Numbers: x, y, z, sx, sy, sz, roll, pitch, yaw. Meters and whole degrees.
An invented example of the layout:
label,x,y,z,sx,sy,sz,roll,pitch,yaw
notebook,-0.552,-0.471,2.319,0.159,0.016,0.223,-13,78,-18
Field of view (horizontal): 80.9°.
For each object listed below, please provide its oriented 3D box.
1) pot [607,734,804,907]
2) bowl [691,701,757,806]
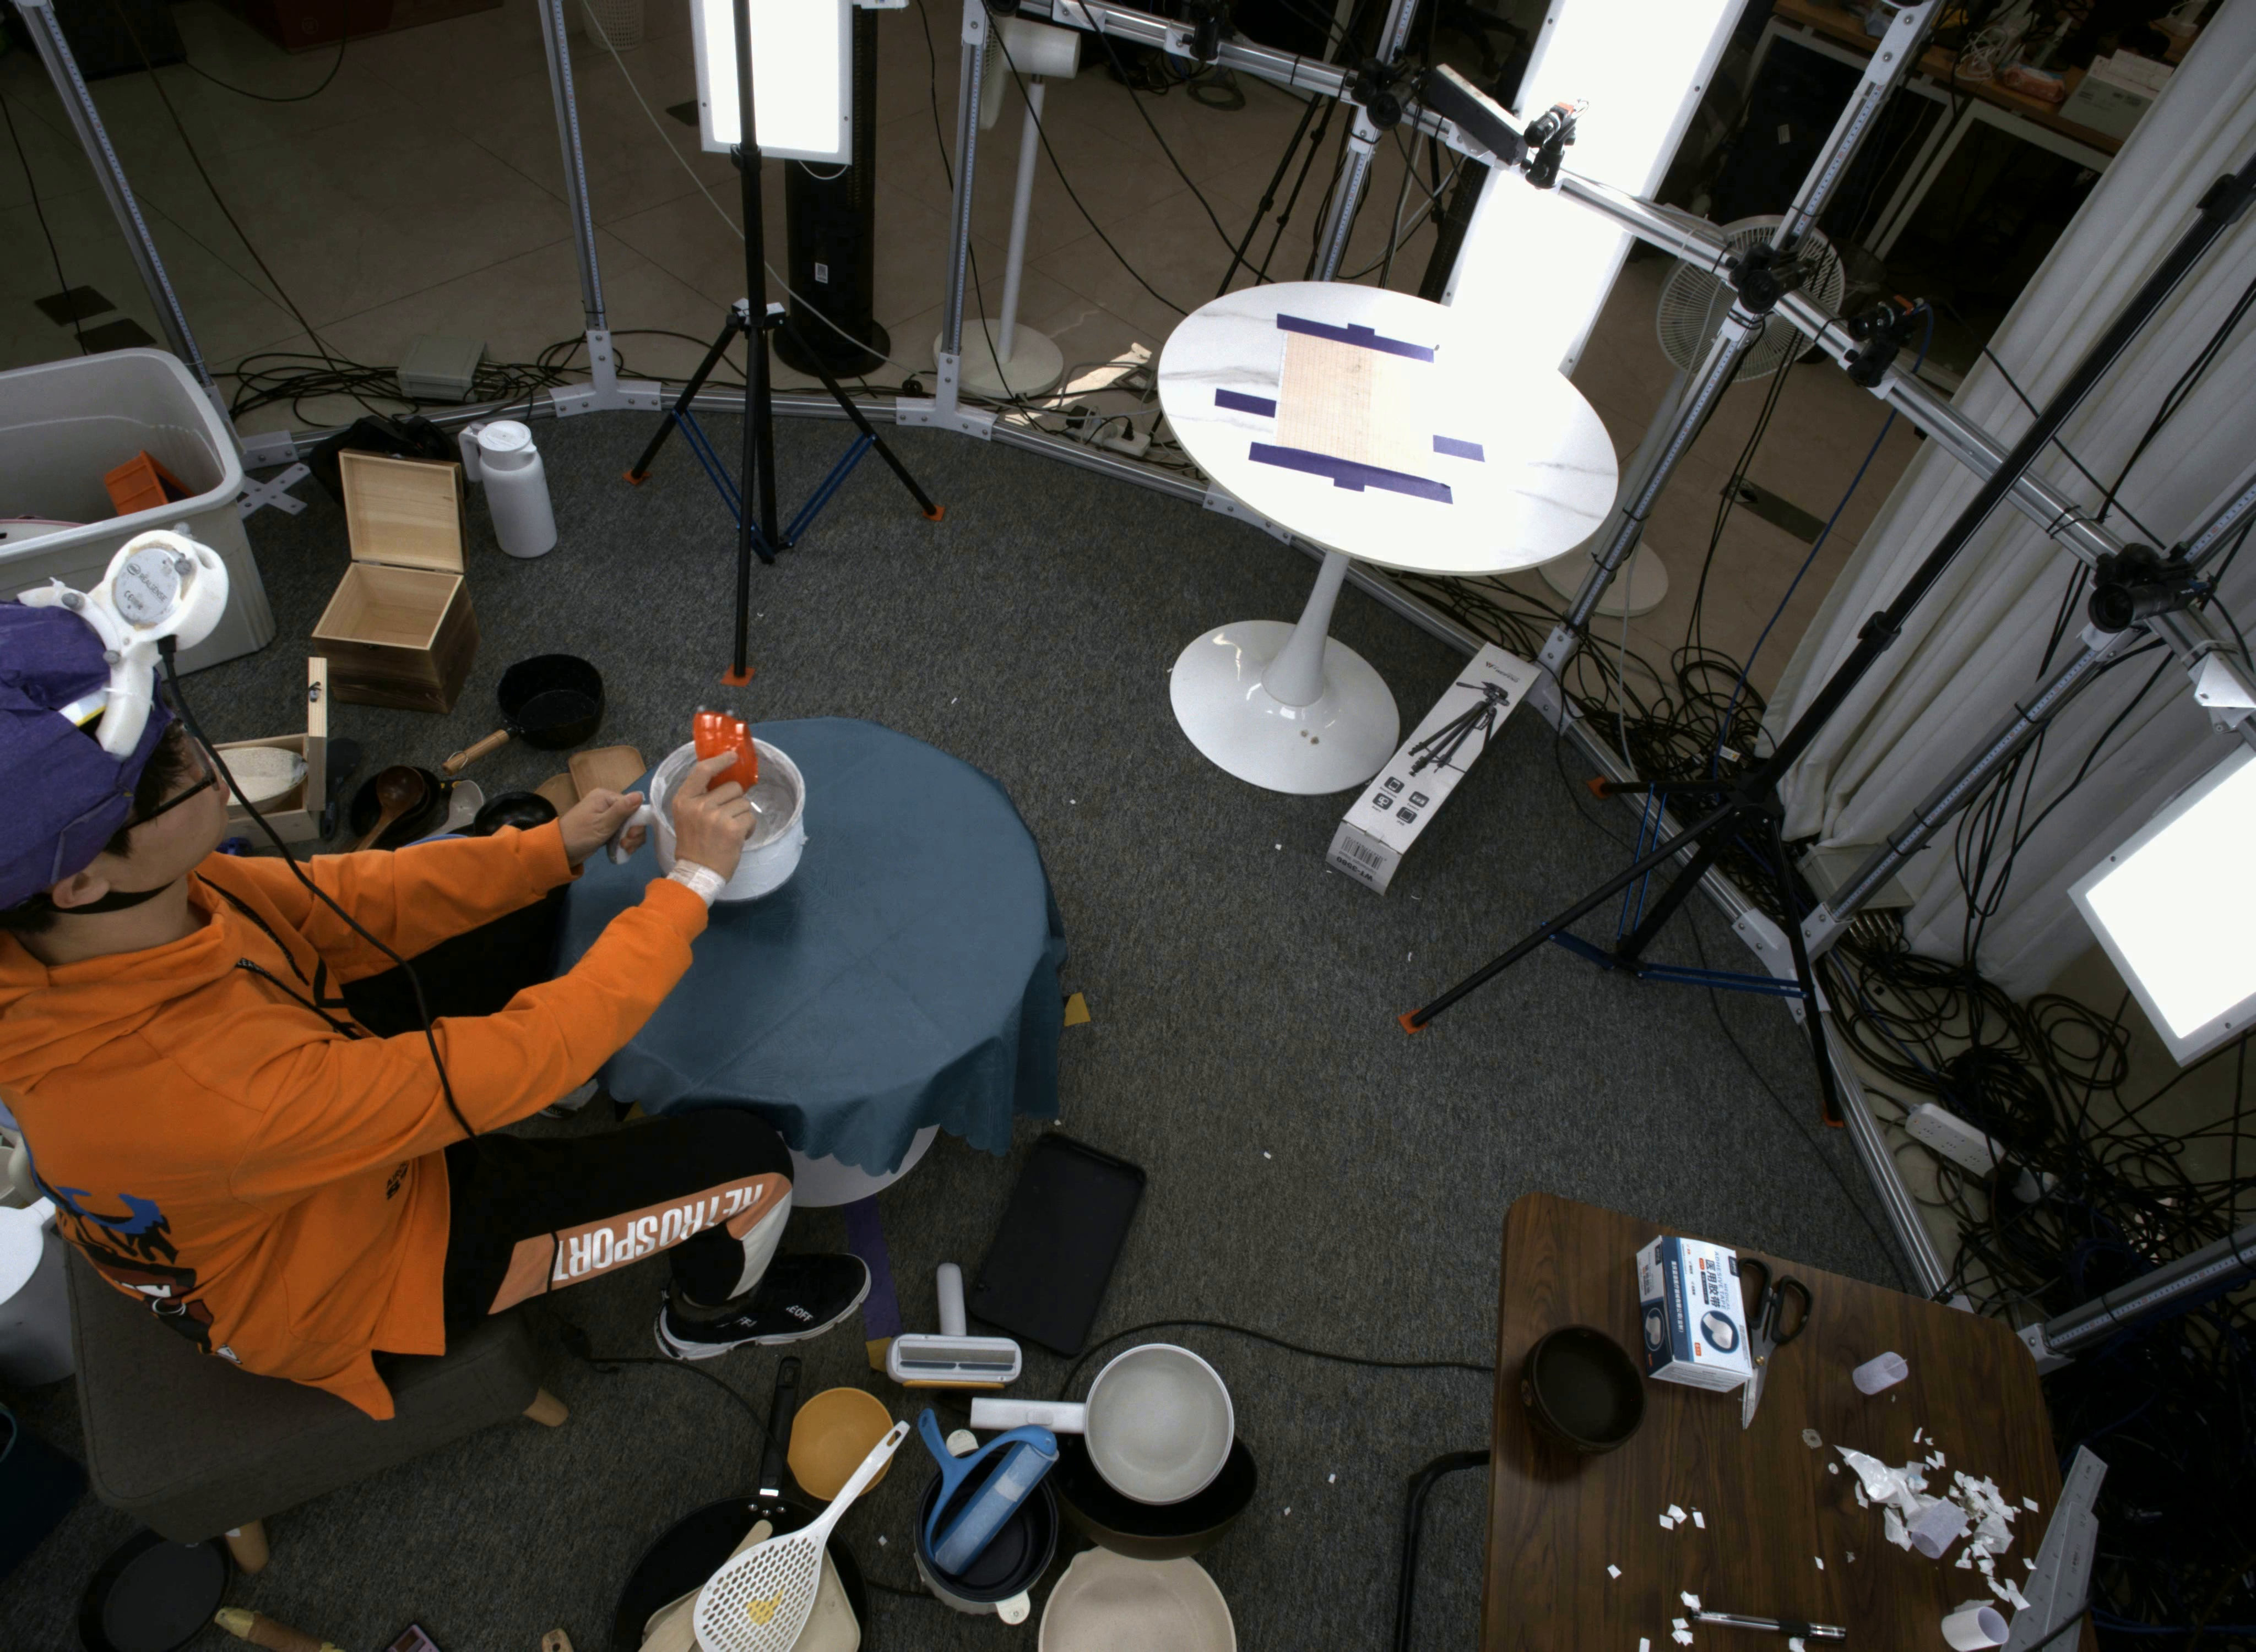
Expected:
label,x,y,z,sx,sy,sz,roll,pitch,yaw
pot,-0.505,-0.004,1.533,0.235,0.139,0.174,-6,54,-21
bowl,-0.446,-0.084,1.434,0.051,0.122,0.116,-10,55,-8
